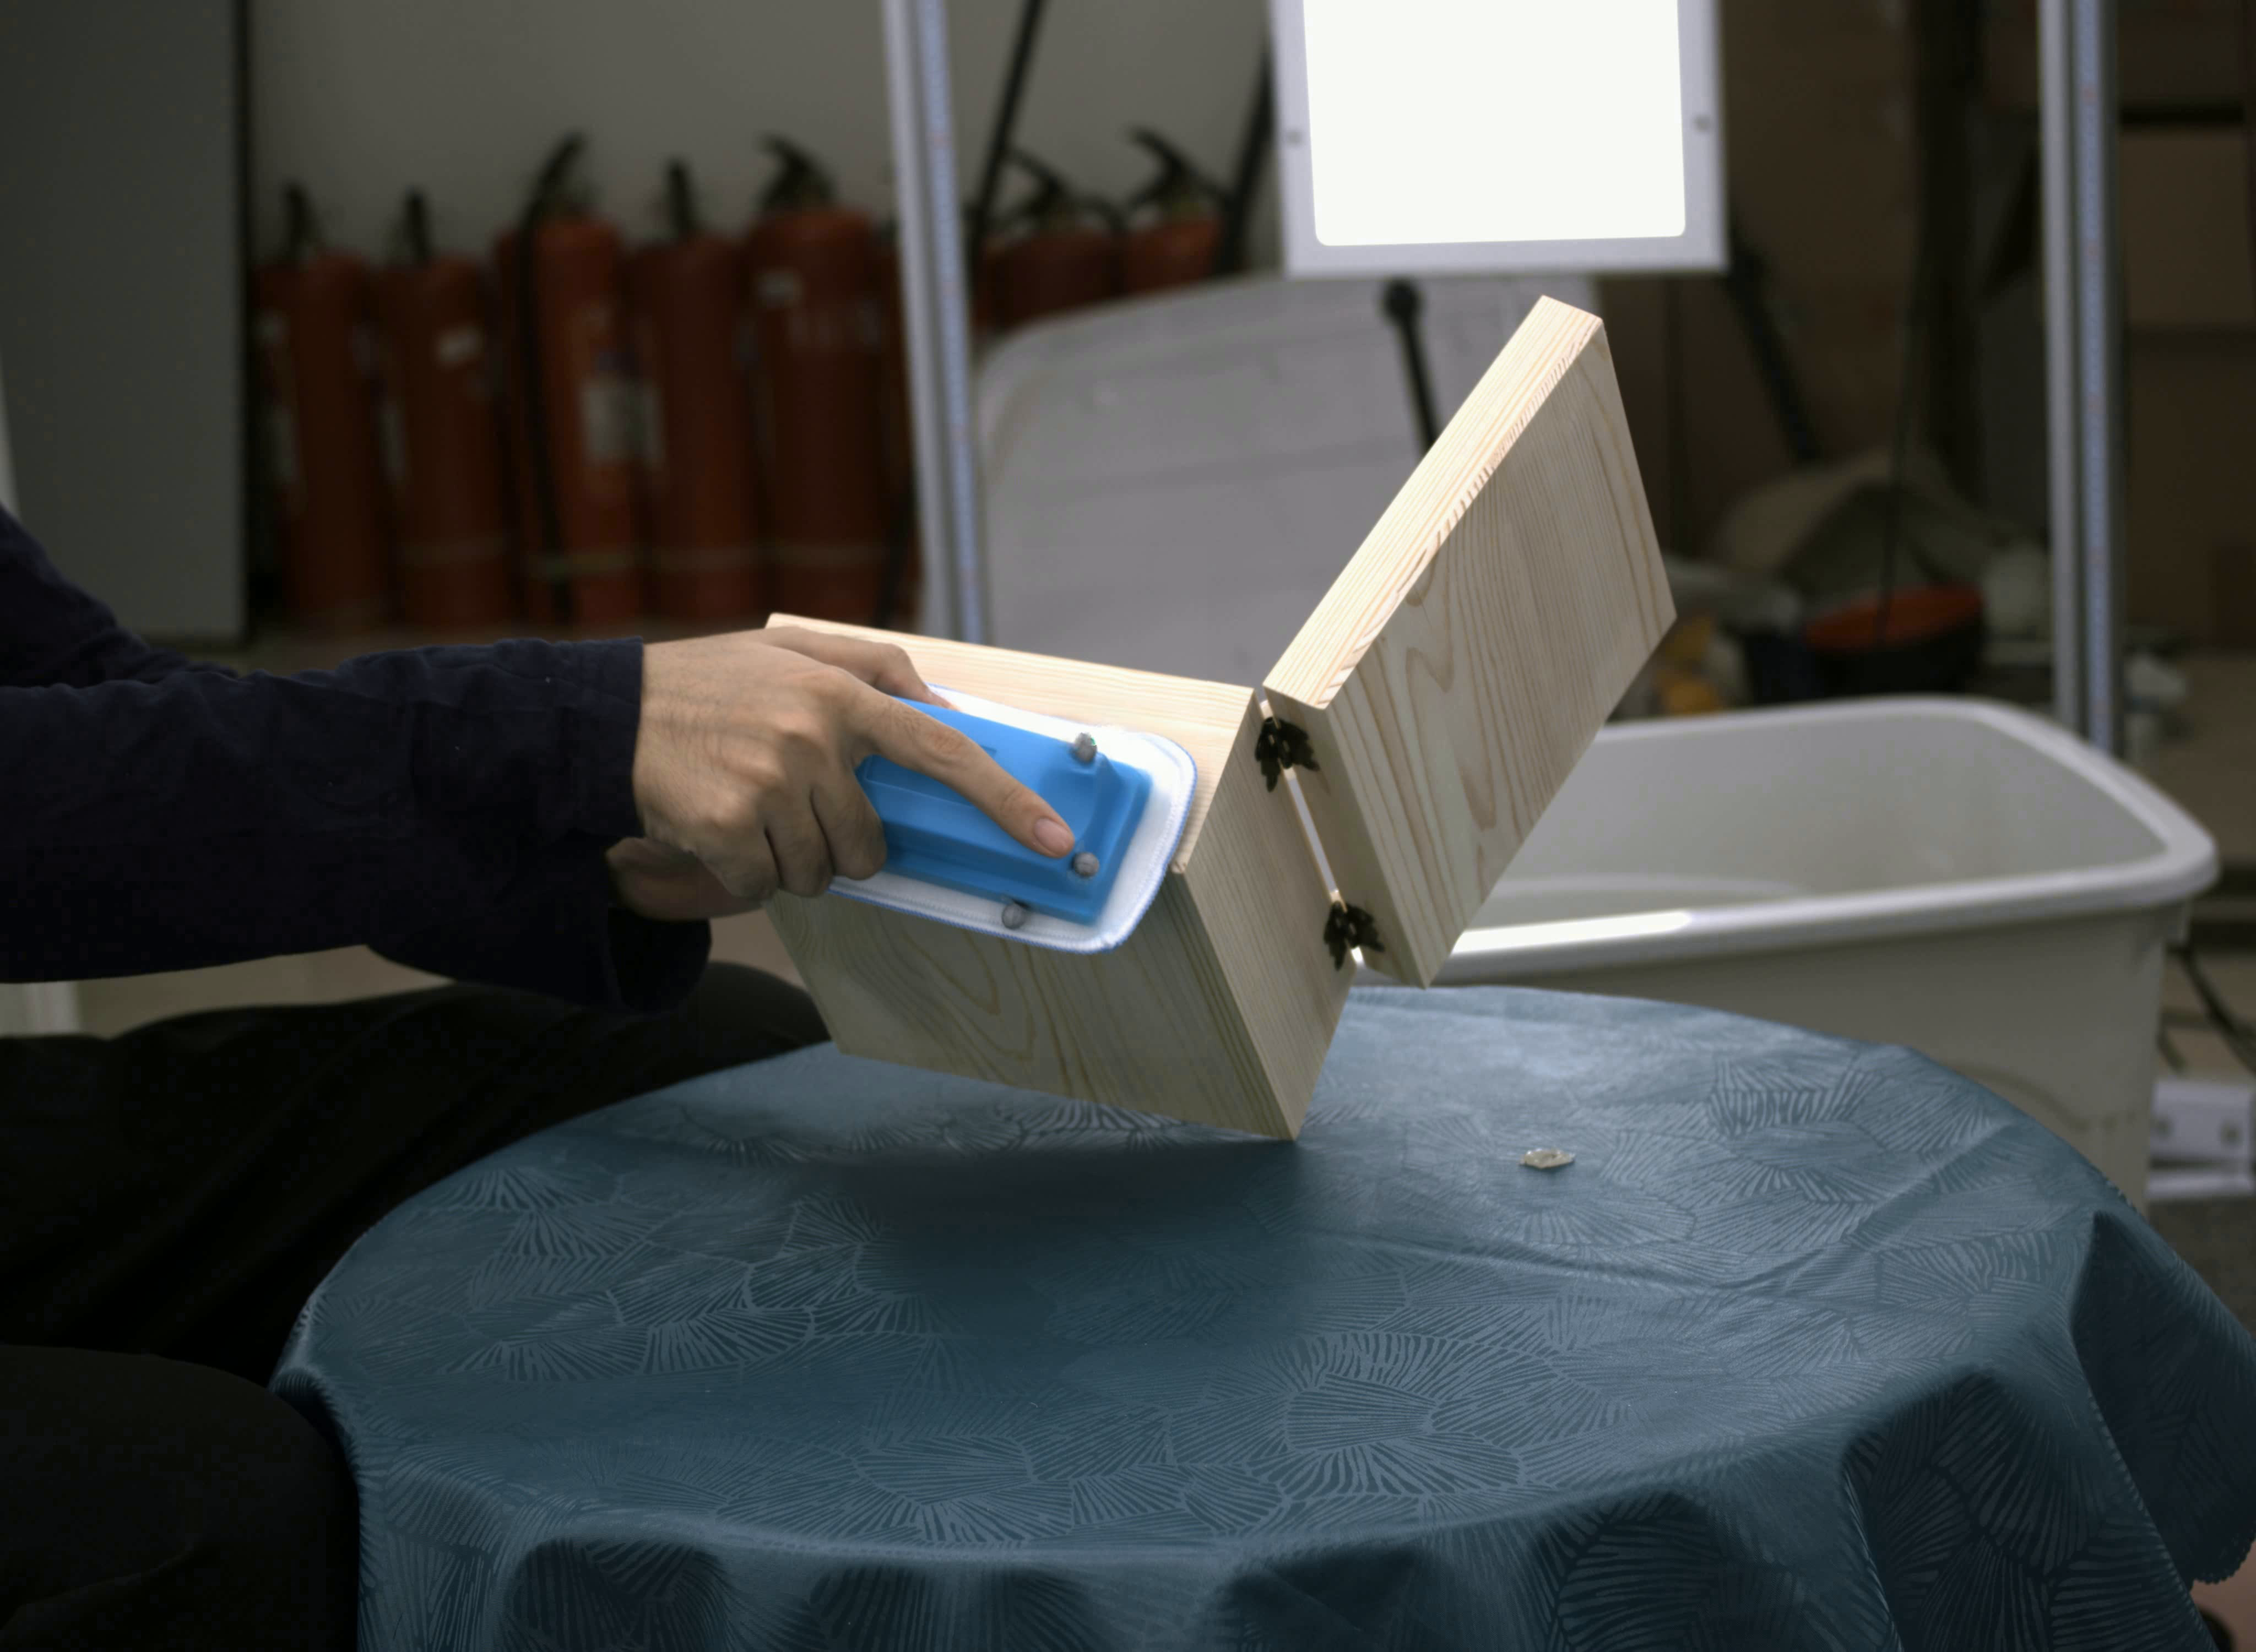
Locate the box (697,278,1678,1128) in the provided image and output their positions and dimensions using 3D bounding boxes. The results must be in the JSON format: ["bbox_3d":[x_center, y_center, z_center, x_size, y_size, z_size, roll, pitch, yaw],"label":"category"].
[{"bbox_3d":[0.026,-0.054,1.945,0.269,0.181,0.251,10,63,22],"label":"box"}]

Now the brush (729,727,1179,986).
[{"bbox_3d":[-0.059,0.006,1.803,0.146,0.056,0.083,8,58,19],"label":"brush"}]
